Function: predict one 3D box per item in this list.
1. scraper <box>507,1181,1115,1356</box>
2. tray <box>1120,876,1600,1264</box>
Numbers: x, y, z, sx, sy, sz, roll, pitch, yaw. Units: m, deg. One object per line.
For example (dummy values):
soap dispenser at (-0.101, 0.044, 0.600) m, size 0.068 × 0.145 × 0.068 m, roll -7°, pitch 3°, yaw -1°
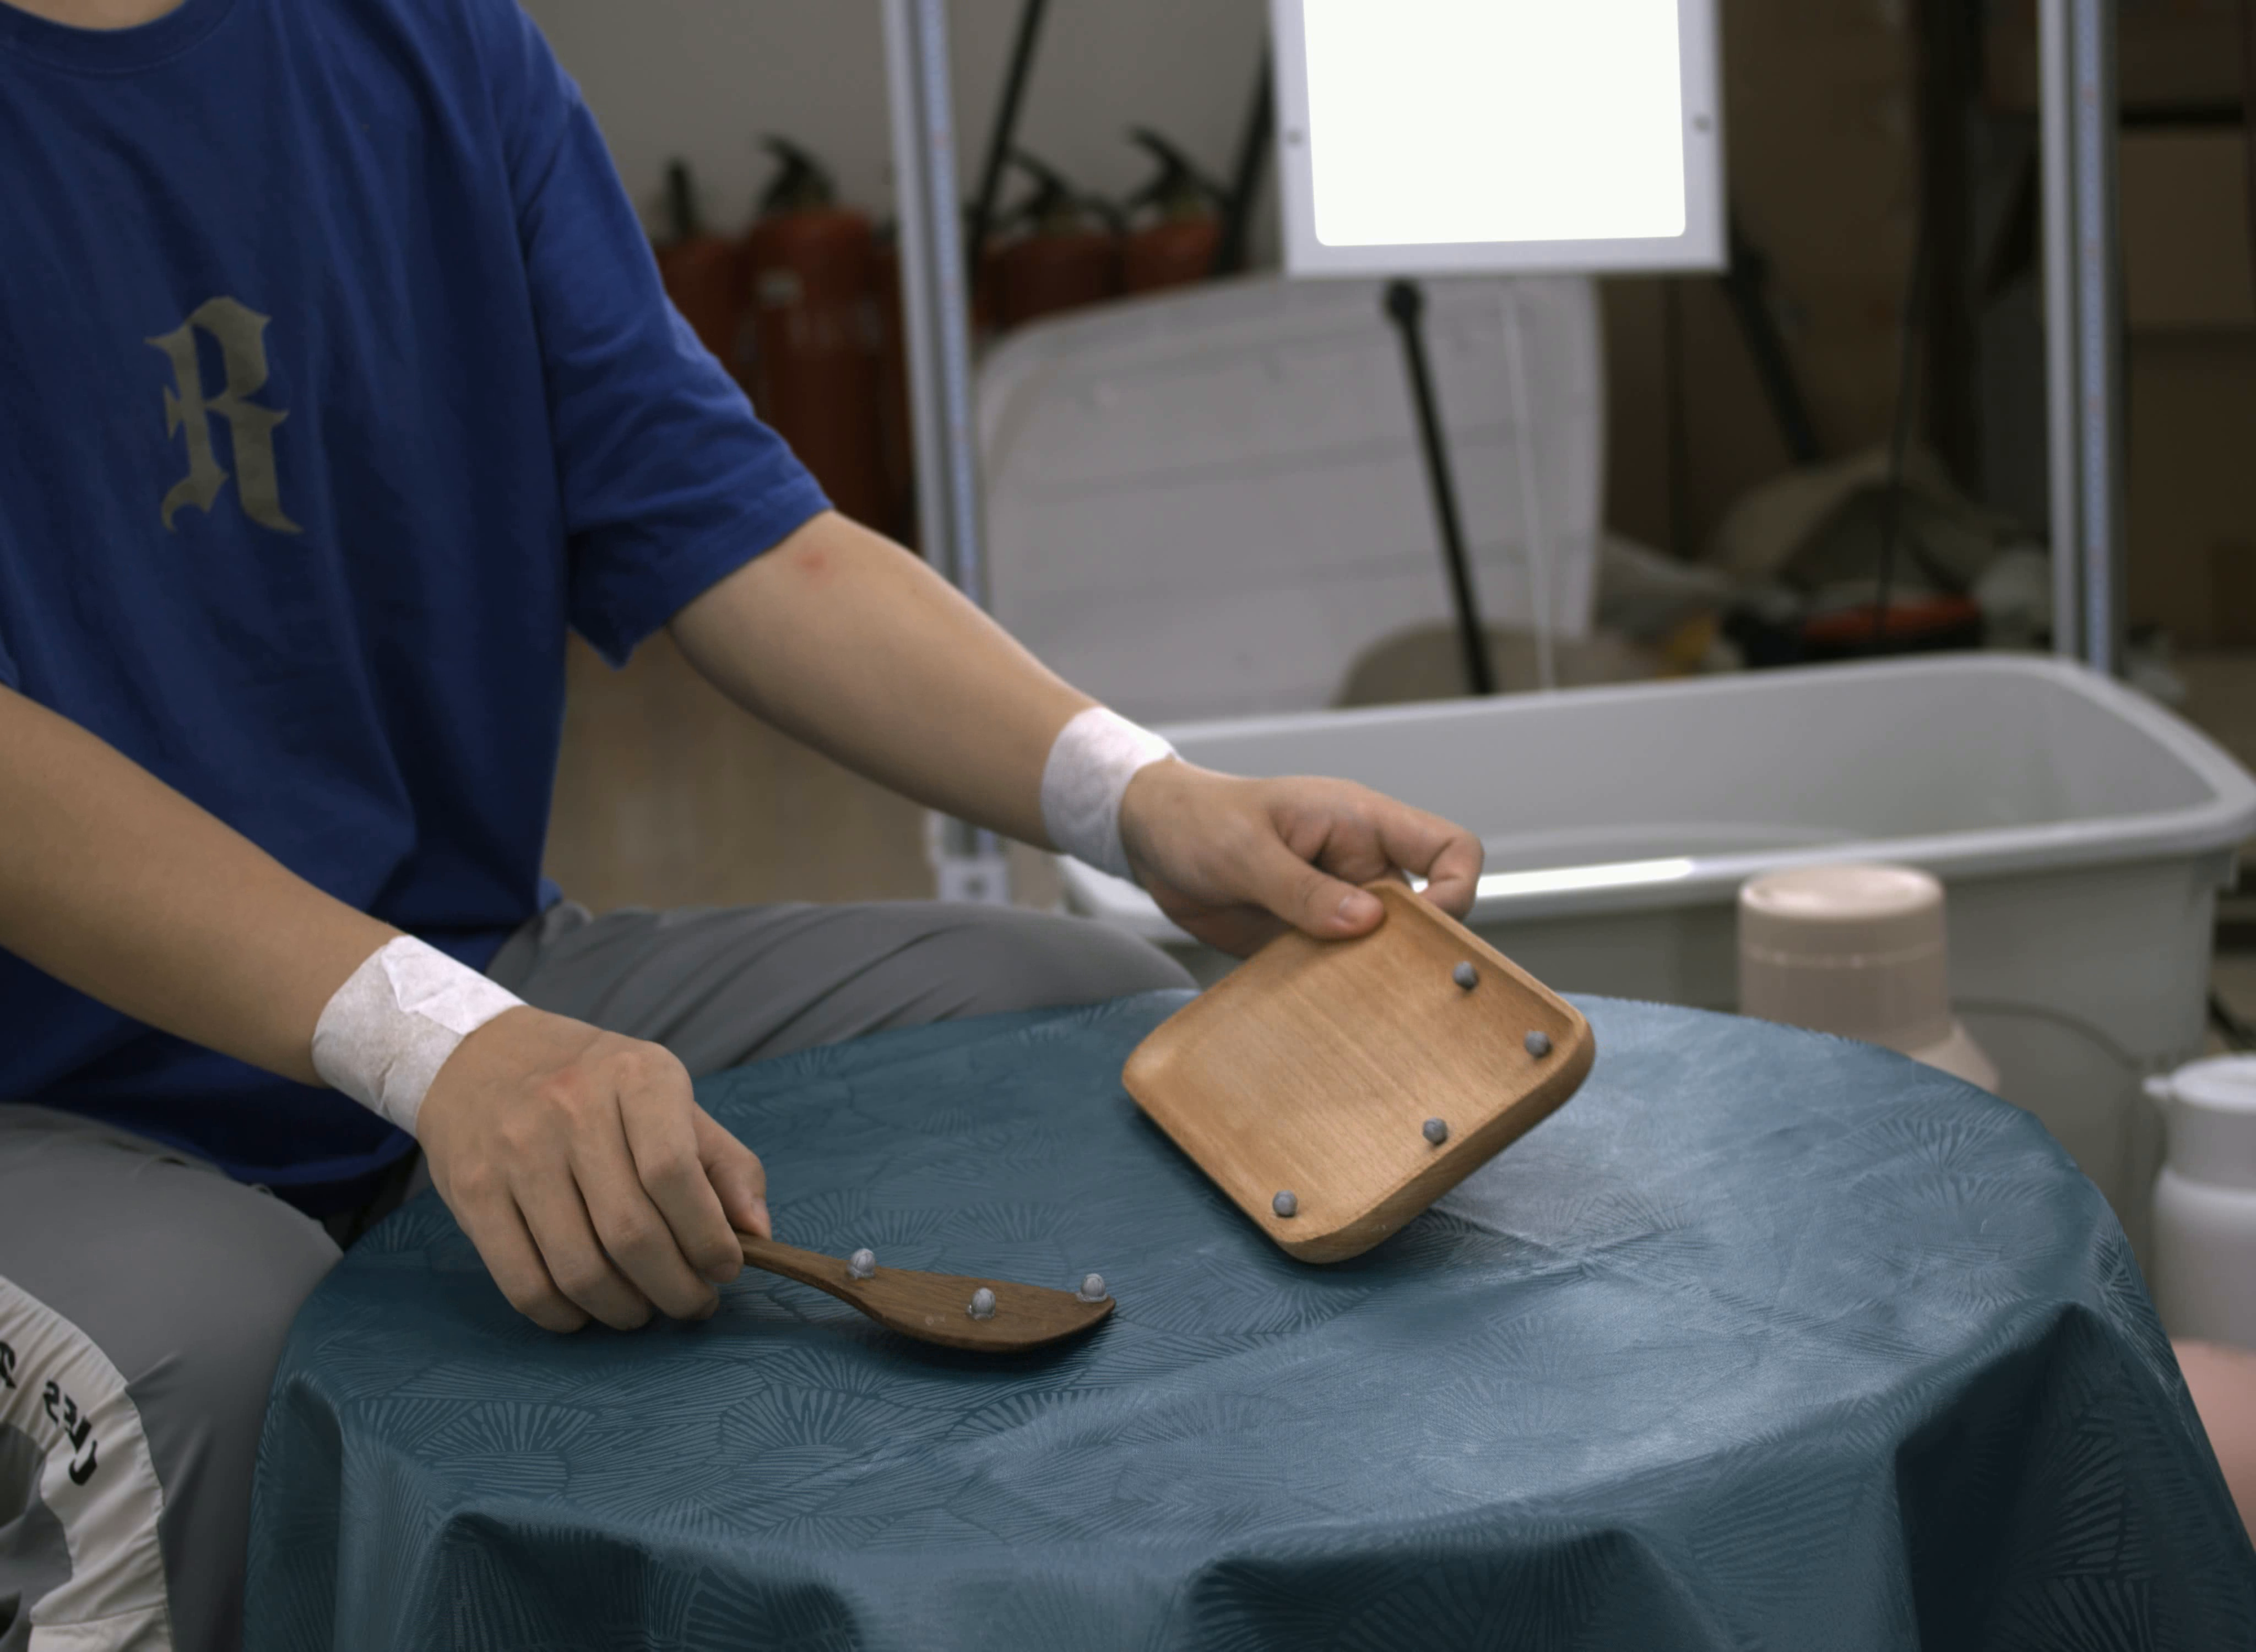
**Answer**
scraper at (-0.108, 0.142, 1.790) m, size 0.214 × 0.011 × 0.074 m, roll 12°, pitch 13°, yaw 25°
tray at (0.078, 0.082, 1.903) m, size 0.130 × 0.023 × 0.253 m, roll -33°, pitch 18°, yaw -5°
